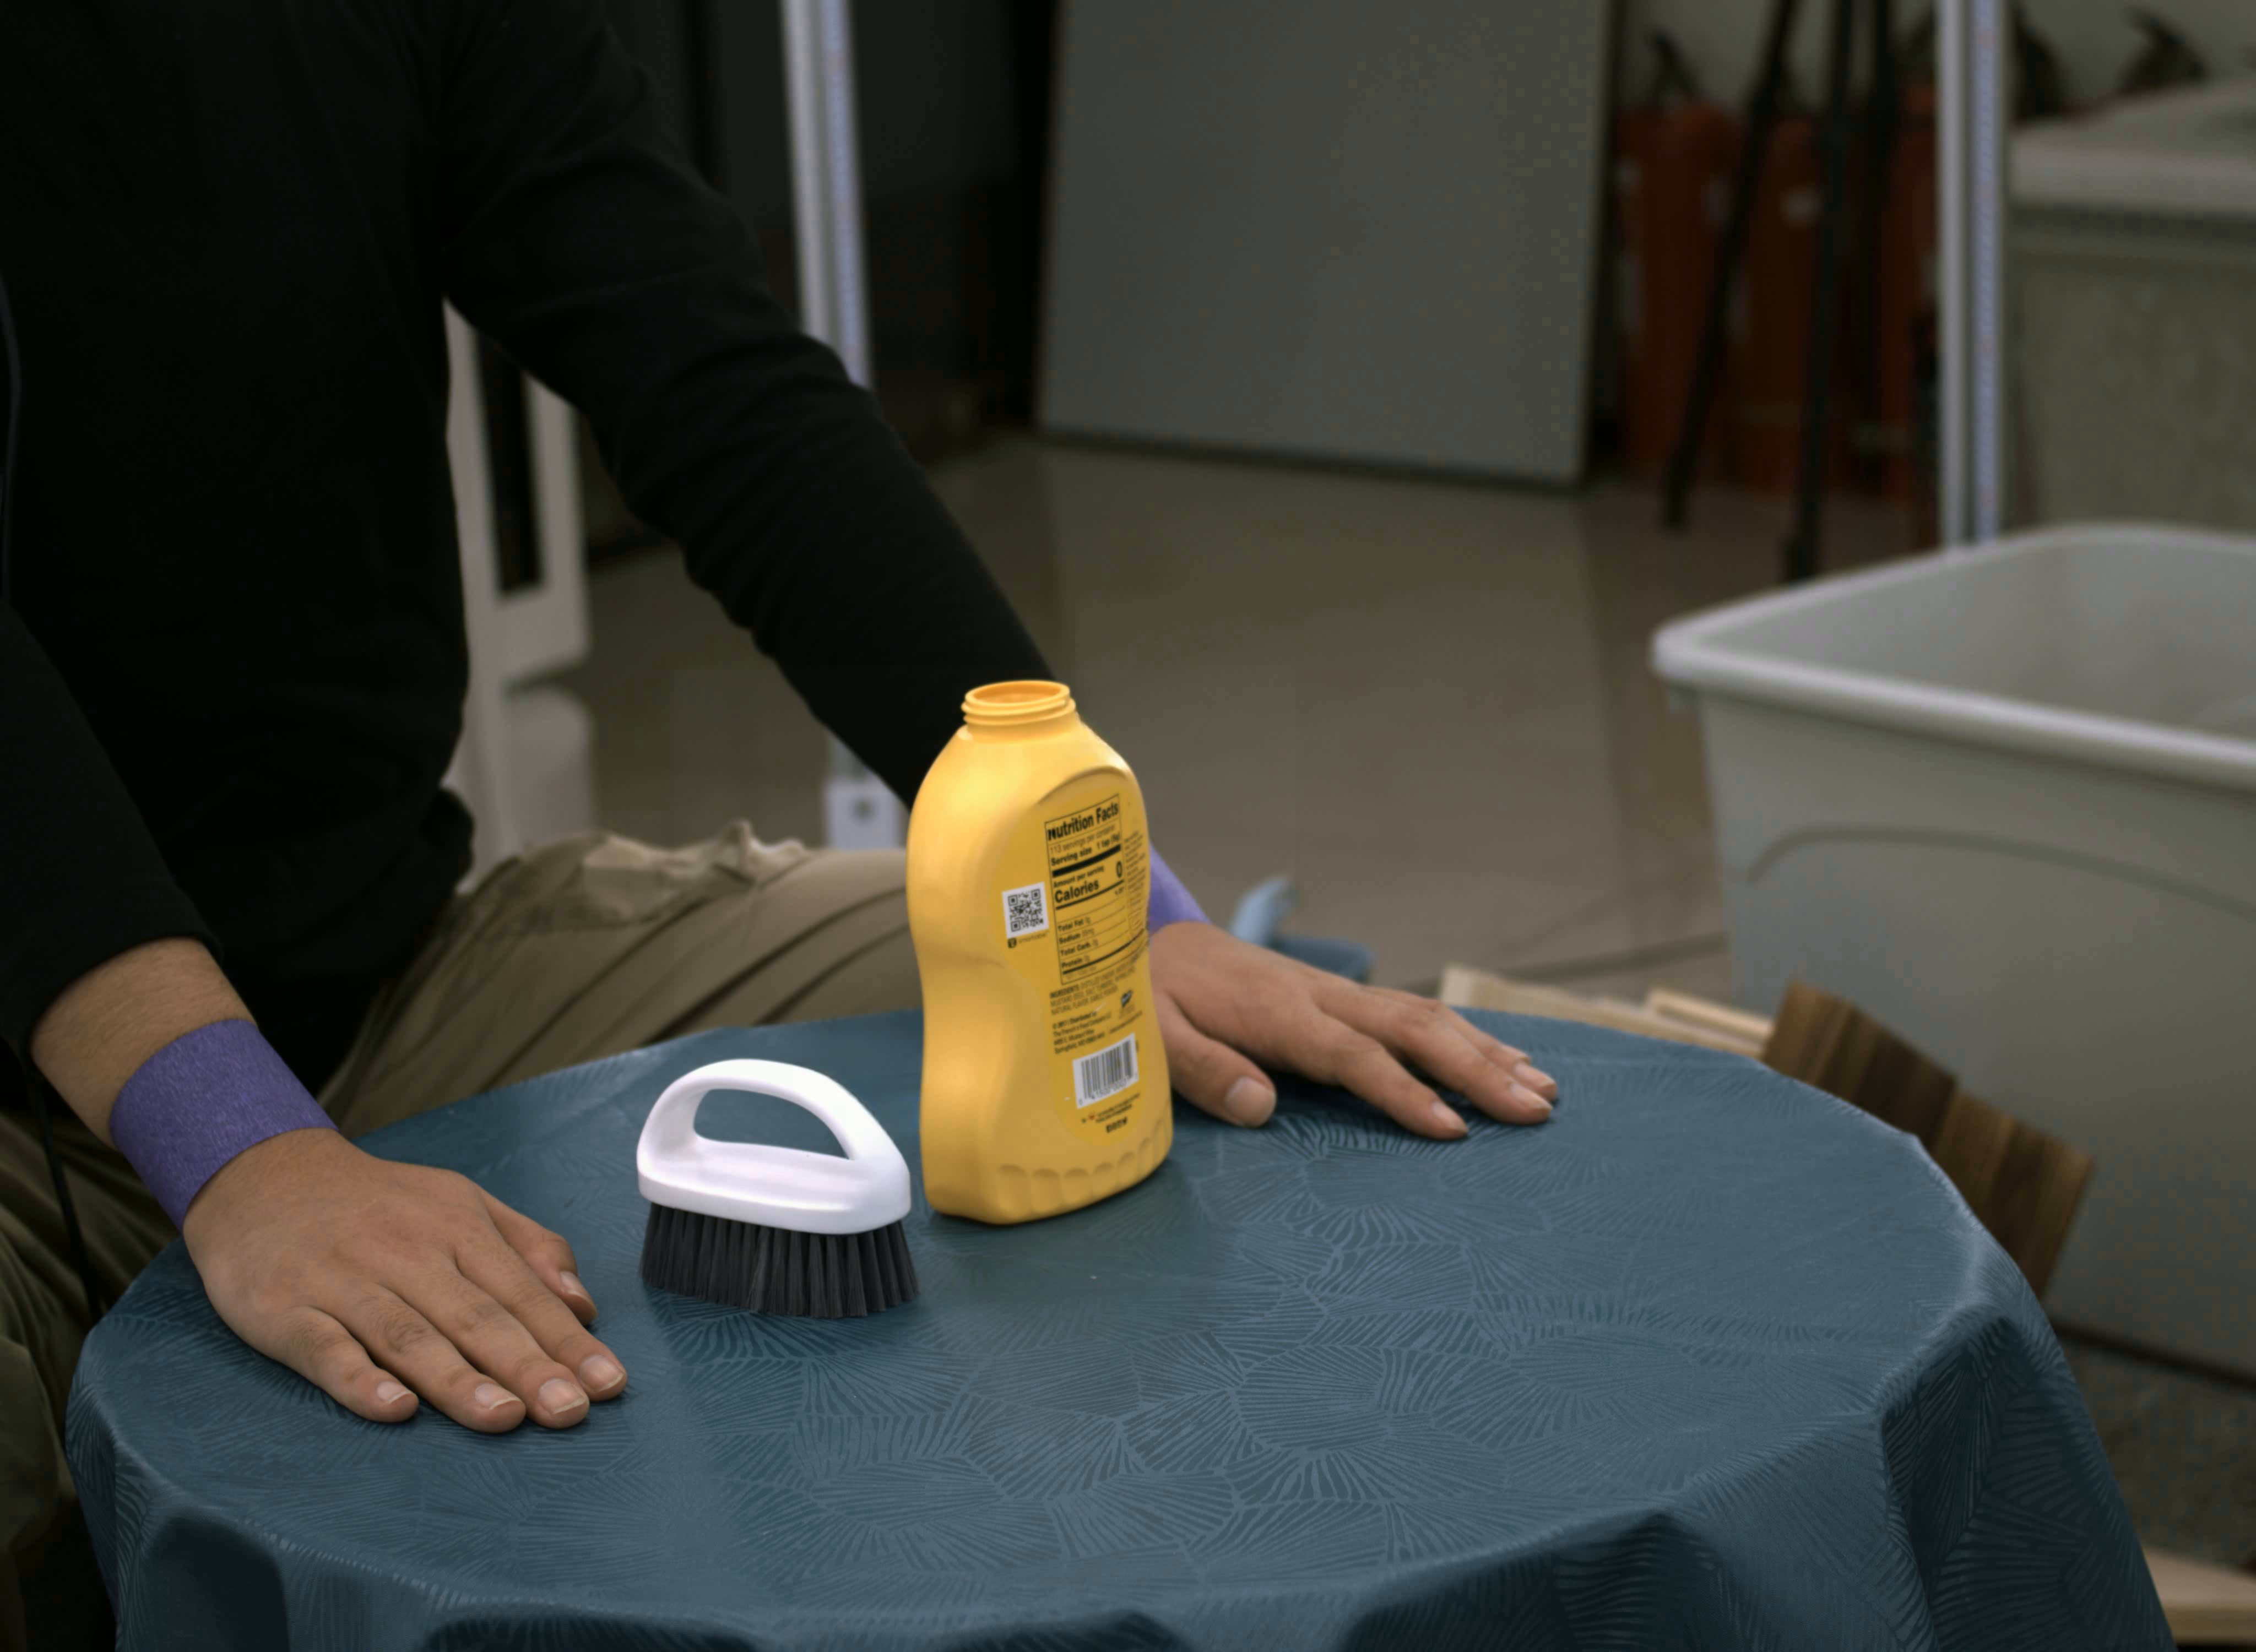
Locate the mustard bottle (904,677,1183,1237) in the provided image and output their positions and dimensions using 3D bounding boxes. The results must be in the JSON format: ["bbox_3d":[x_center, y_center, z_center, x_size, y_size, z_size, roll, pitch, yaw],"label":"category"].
[{"bbox_3d":[-0.030,0.040,1.753,0.060,0.174,0.096,1,14,38],"label":"mustard bottle"}]

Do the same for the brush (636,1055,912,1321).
[{"bbox_3d":[-0.112,0.109,1.692,0.100,0.073,0.049,8,16,38],"label":"brush"}]
